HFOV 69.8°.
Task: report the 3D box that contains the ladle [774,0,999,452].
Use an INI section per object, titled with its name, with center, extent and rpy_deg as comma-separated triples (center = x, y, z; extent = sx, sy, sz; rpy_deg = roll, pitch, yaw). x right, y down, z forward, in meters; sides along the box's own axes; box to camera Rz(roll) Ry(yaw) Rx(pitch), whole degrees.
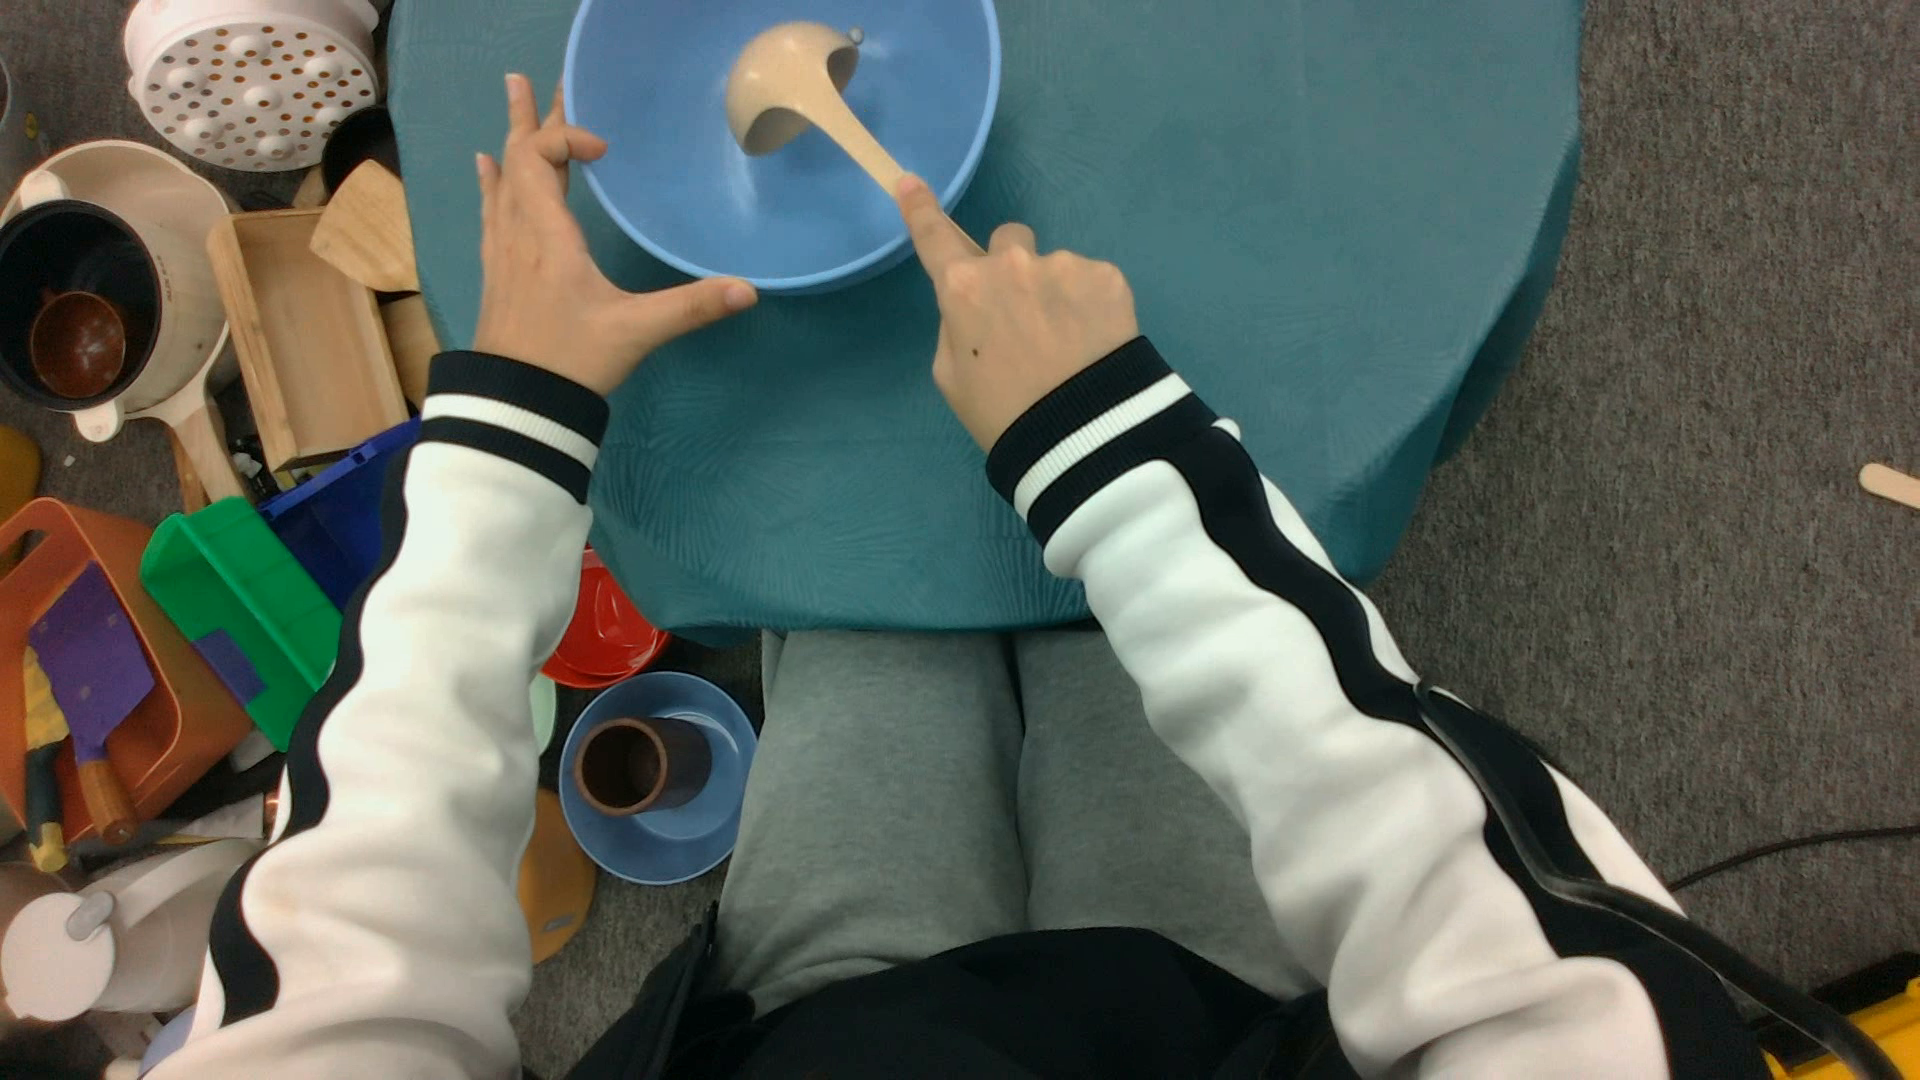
[ladle]
center = -0.011, -0.147, 0.607
extent = 0.073, 0.072, 0.255
rpy_deg = -11, 63, -33

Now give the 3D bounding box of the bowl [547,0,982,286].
[bowl]
center = -0.082, -0.203, 0.652
extent = 0.196, 0.095, 0.197
rpy_deg = -1, 80, 7
